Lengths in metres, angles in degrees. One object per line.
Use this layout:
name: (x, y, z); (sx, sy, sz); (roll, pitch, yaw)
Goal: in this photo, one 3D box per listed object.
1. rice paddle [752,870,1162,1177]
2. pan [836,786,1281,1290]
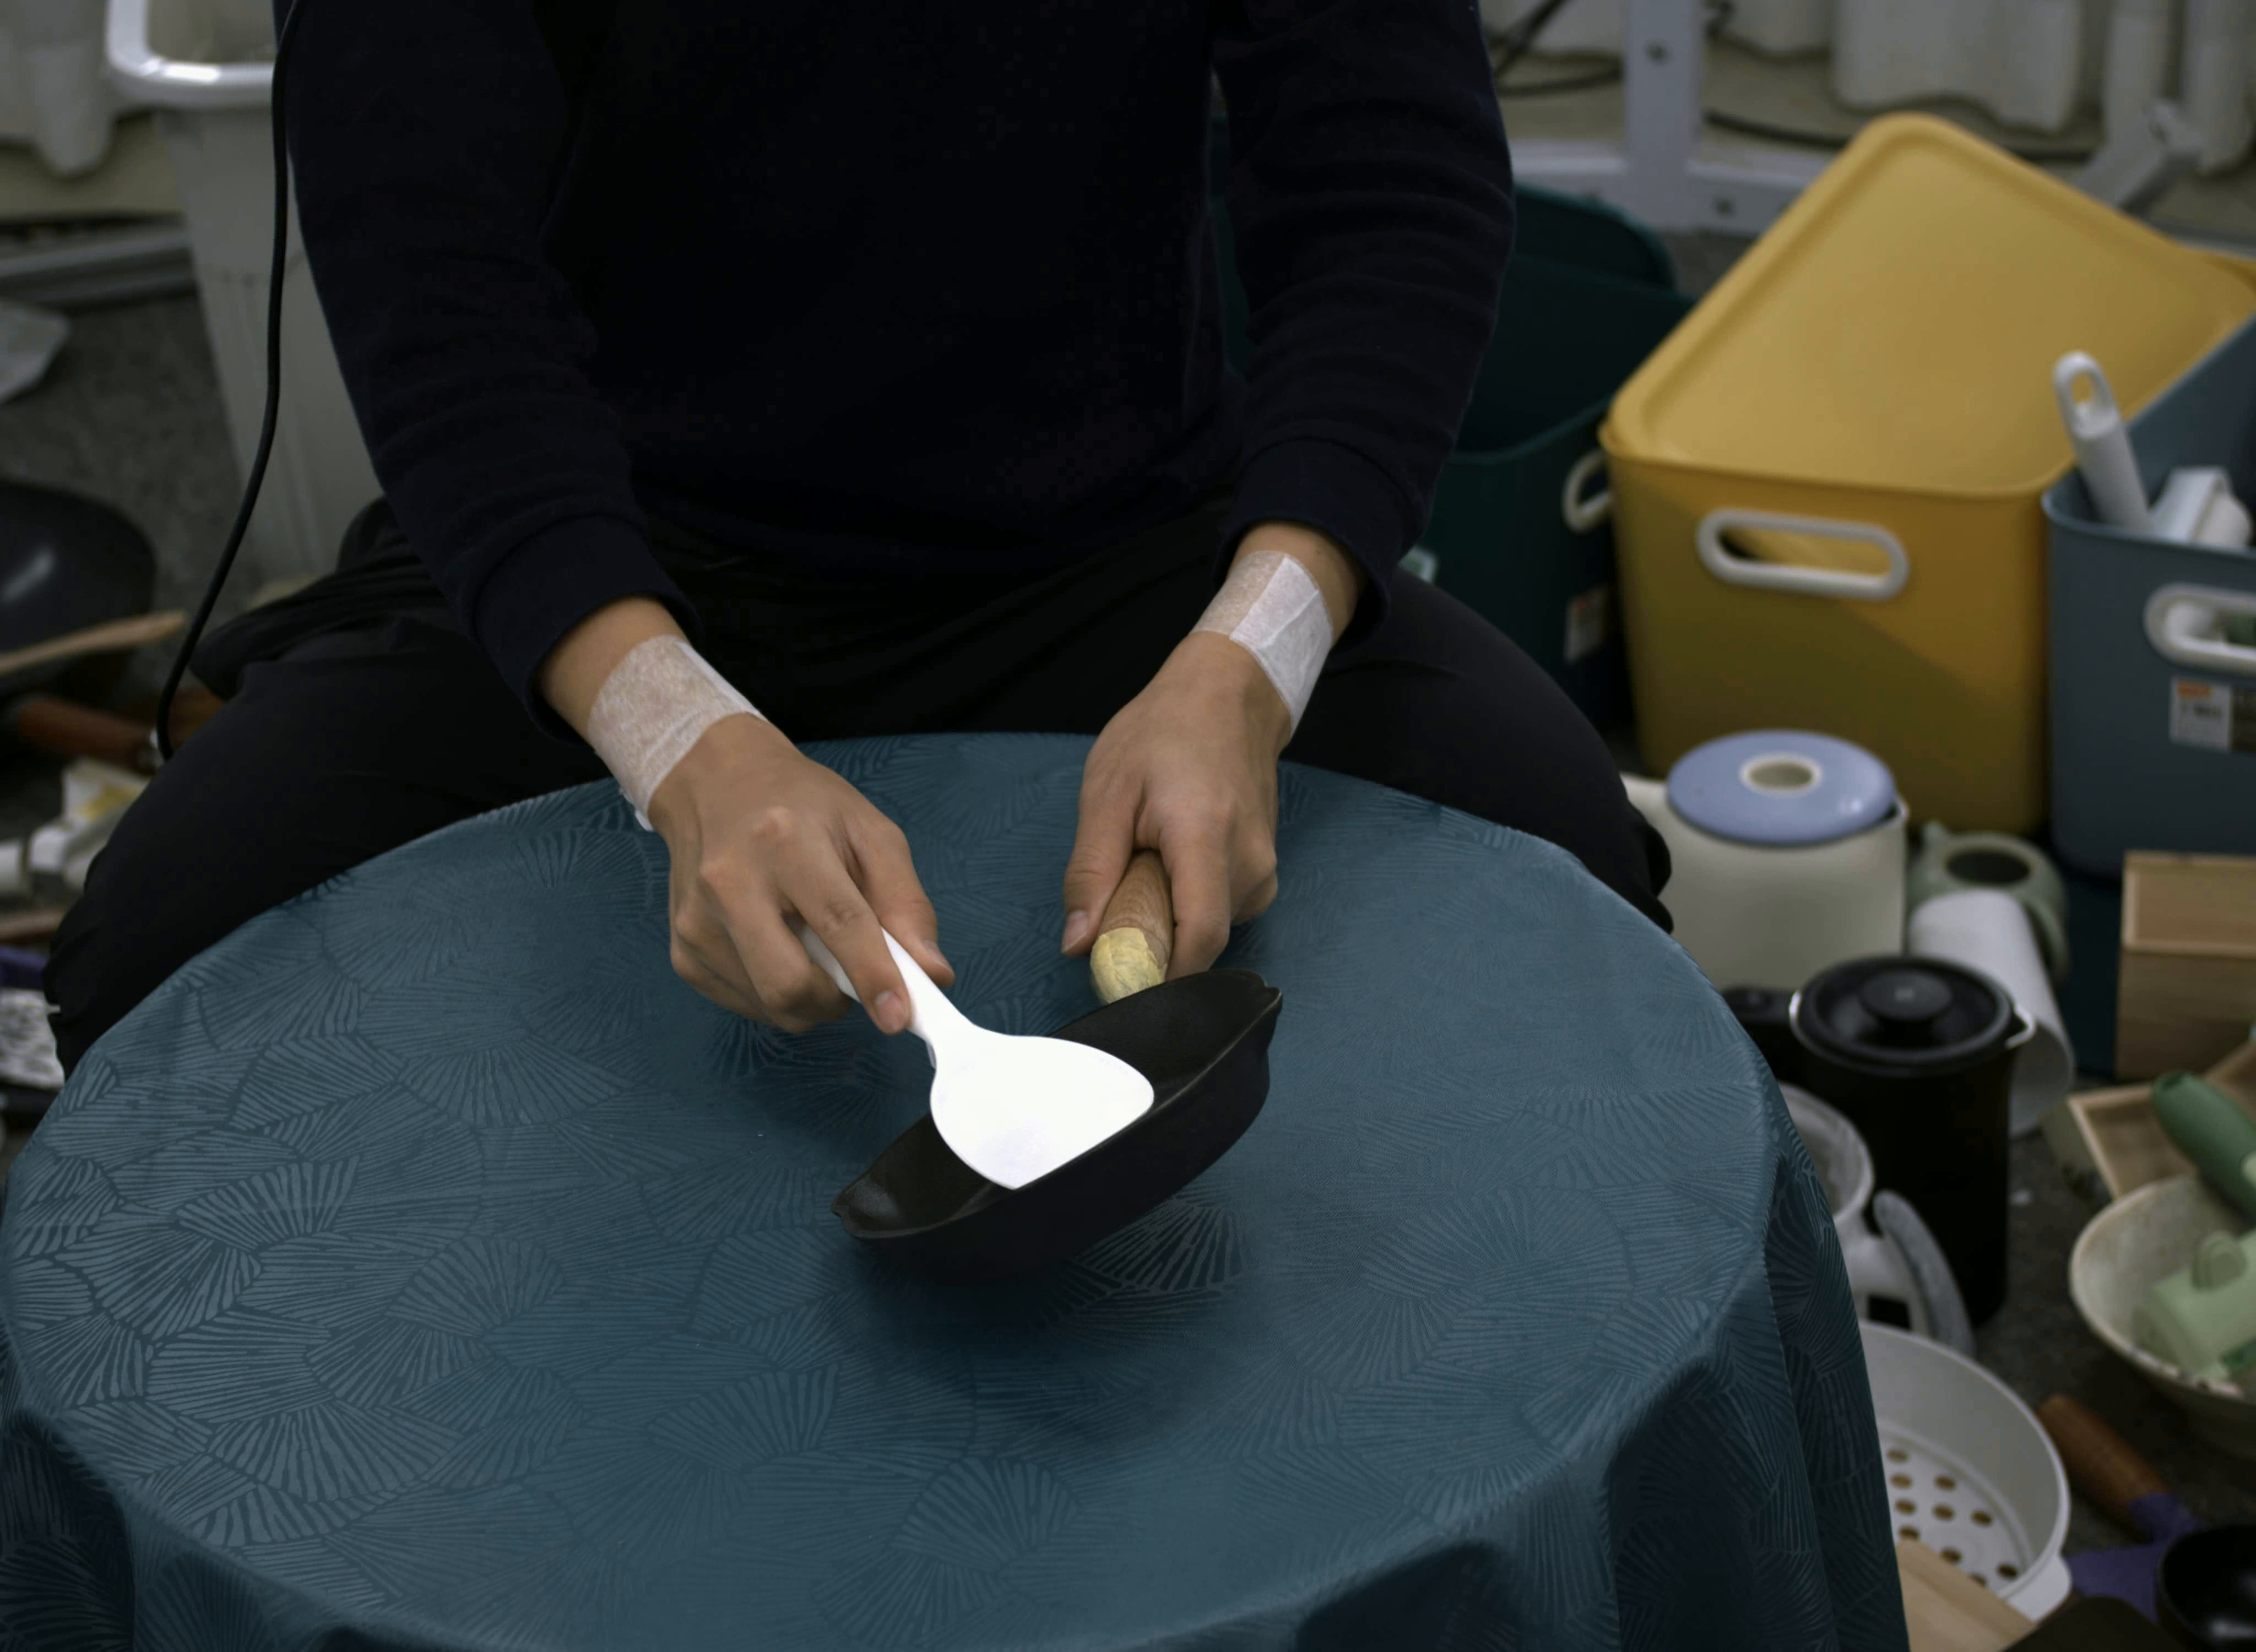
rice paddle: (-0.058, 0.068, 1.855); (0.069, 0.029, 0.206); (-27, 37, -25)
pan: (-0.004, 0.065, 1.887); (0.167, 0.049, 0.329); (-25, 14, 20)
